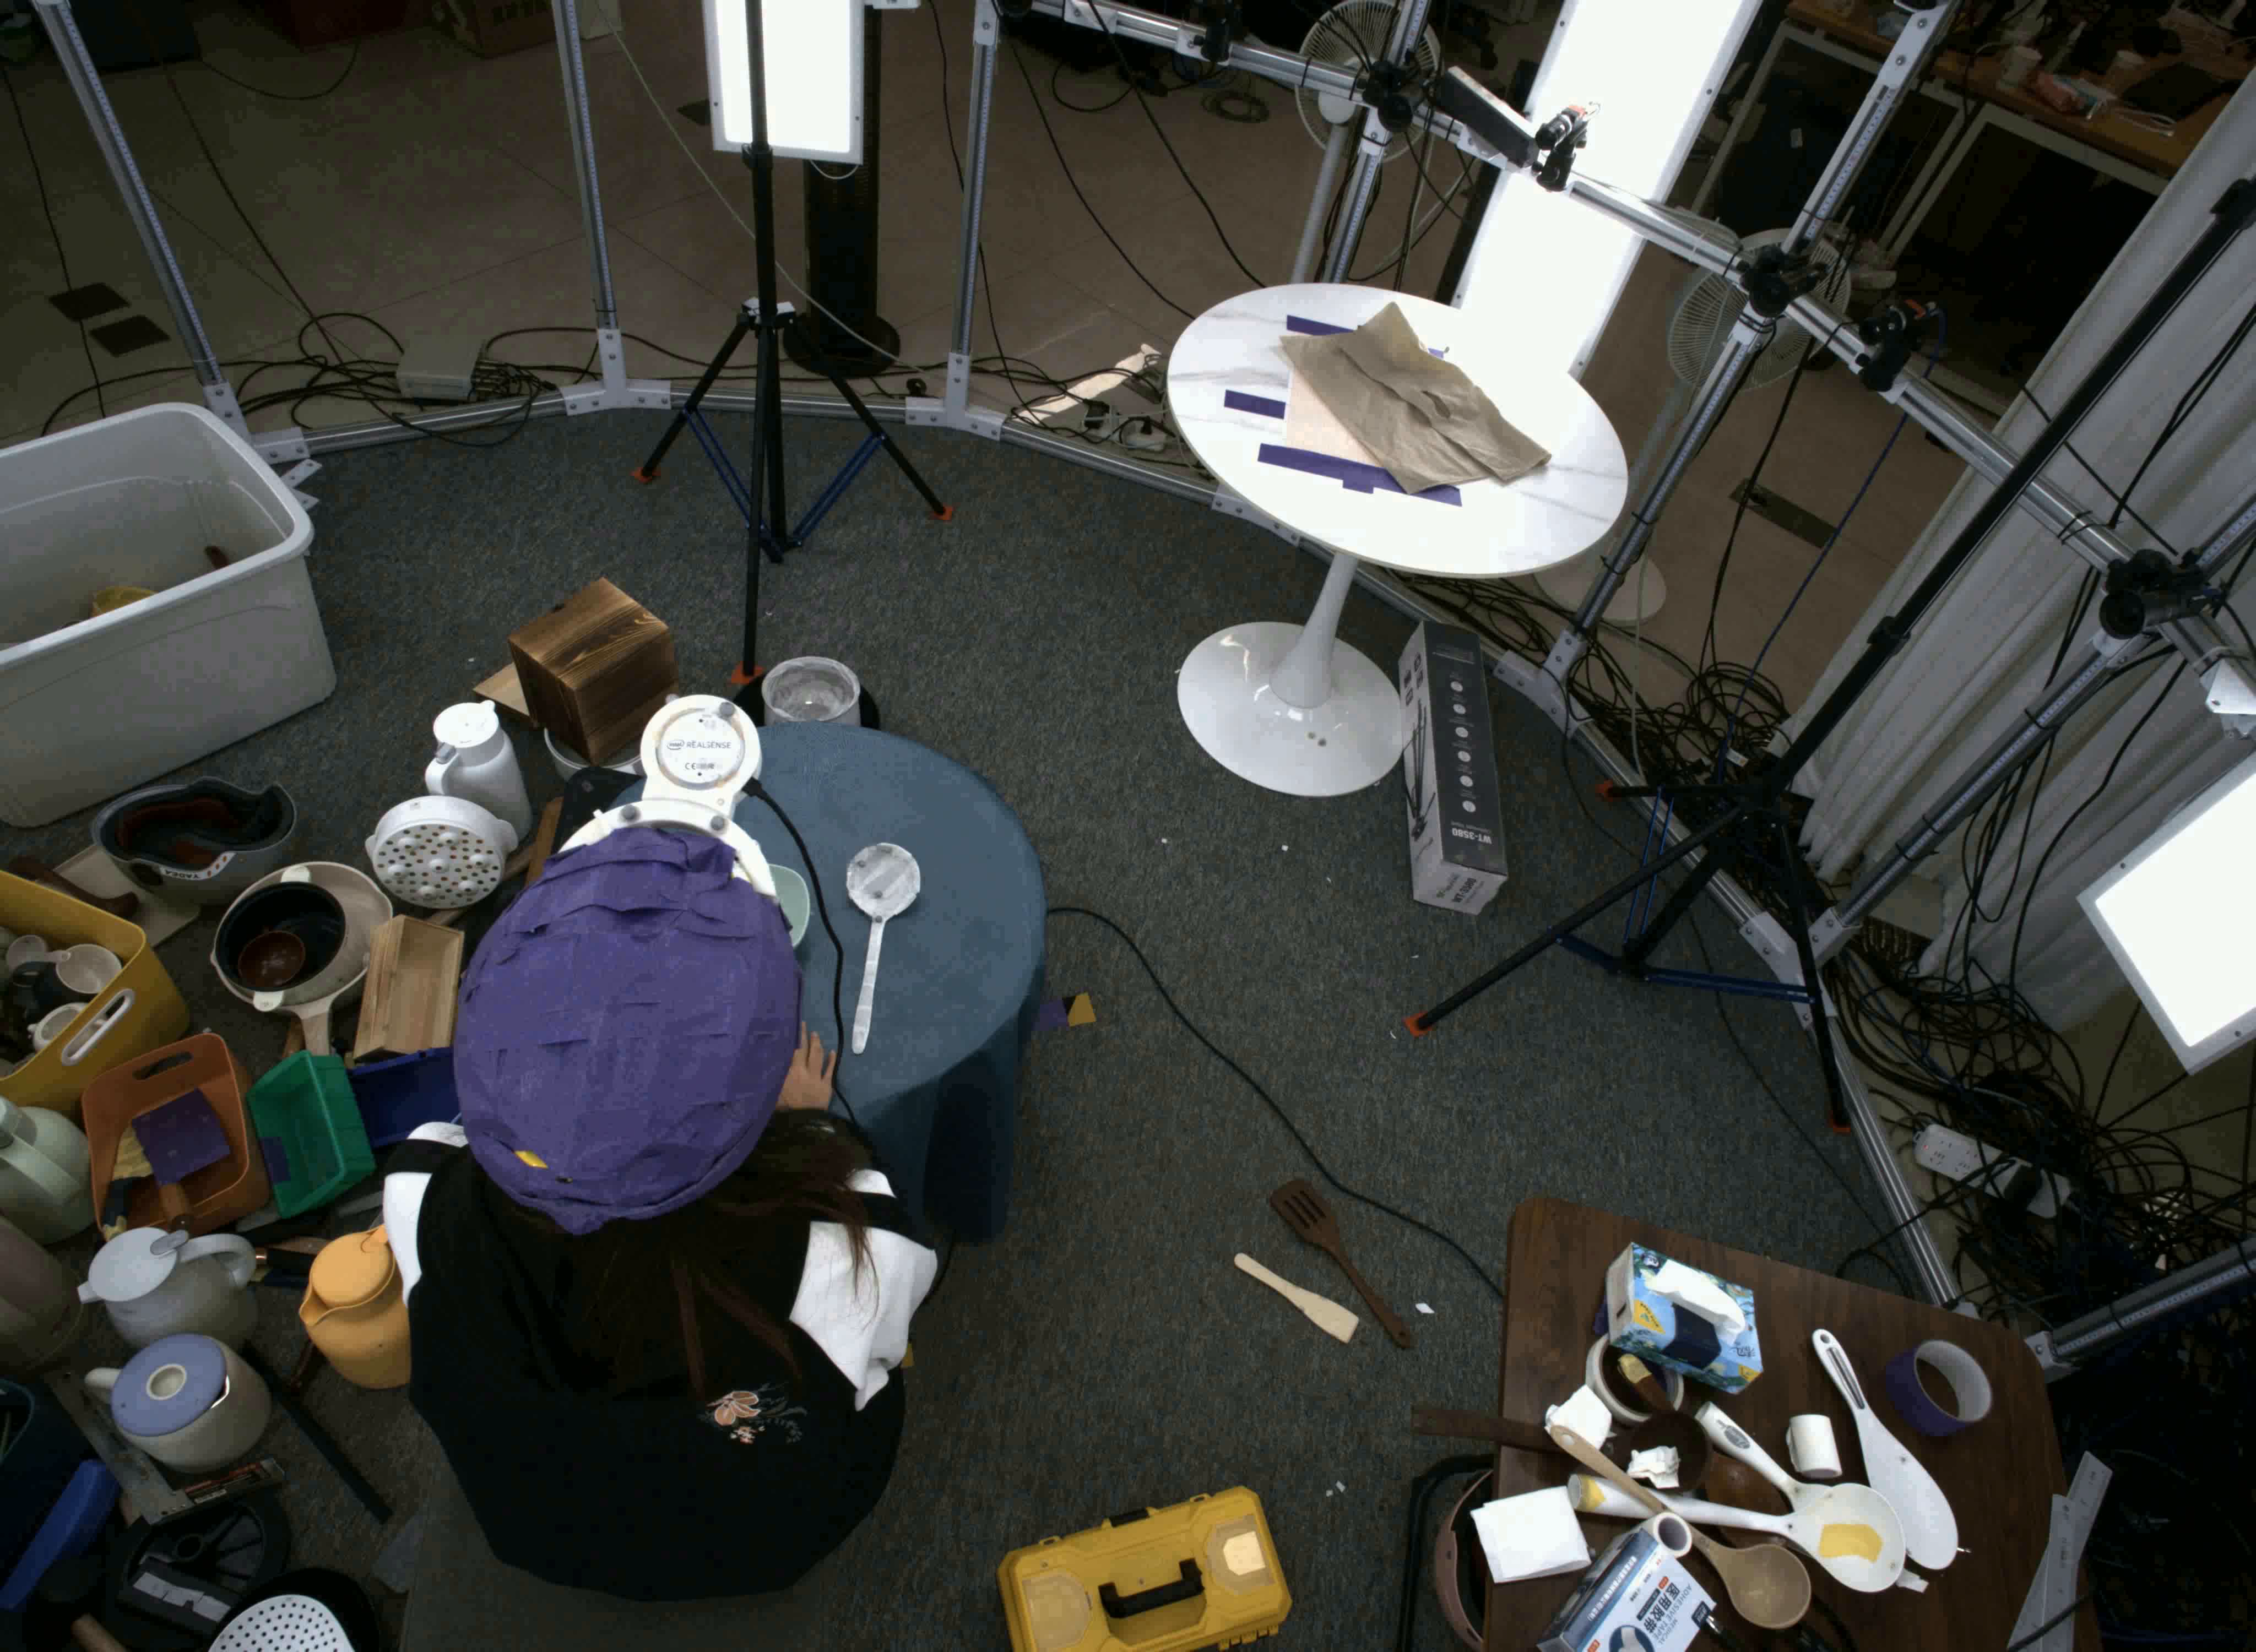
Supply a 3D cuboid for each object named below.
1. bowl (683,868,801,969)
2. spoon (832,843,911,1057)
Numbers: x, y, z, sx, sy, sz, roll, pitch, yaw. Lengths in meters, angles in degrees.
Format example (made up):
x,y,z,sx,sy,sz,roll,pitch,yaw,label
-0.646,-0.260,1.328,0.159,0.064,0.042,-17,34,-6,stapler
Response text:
x,y,z,sx,sy,sz,roll,pitch,yaw,label
-0.470,0.121,1.582,0.151,0.060,0.149,8,52,-8,bowl
-0.333,0.146,1.597,0.100,0.061,0.273,7,52,-3,spoon
